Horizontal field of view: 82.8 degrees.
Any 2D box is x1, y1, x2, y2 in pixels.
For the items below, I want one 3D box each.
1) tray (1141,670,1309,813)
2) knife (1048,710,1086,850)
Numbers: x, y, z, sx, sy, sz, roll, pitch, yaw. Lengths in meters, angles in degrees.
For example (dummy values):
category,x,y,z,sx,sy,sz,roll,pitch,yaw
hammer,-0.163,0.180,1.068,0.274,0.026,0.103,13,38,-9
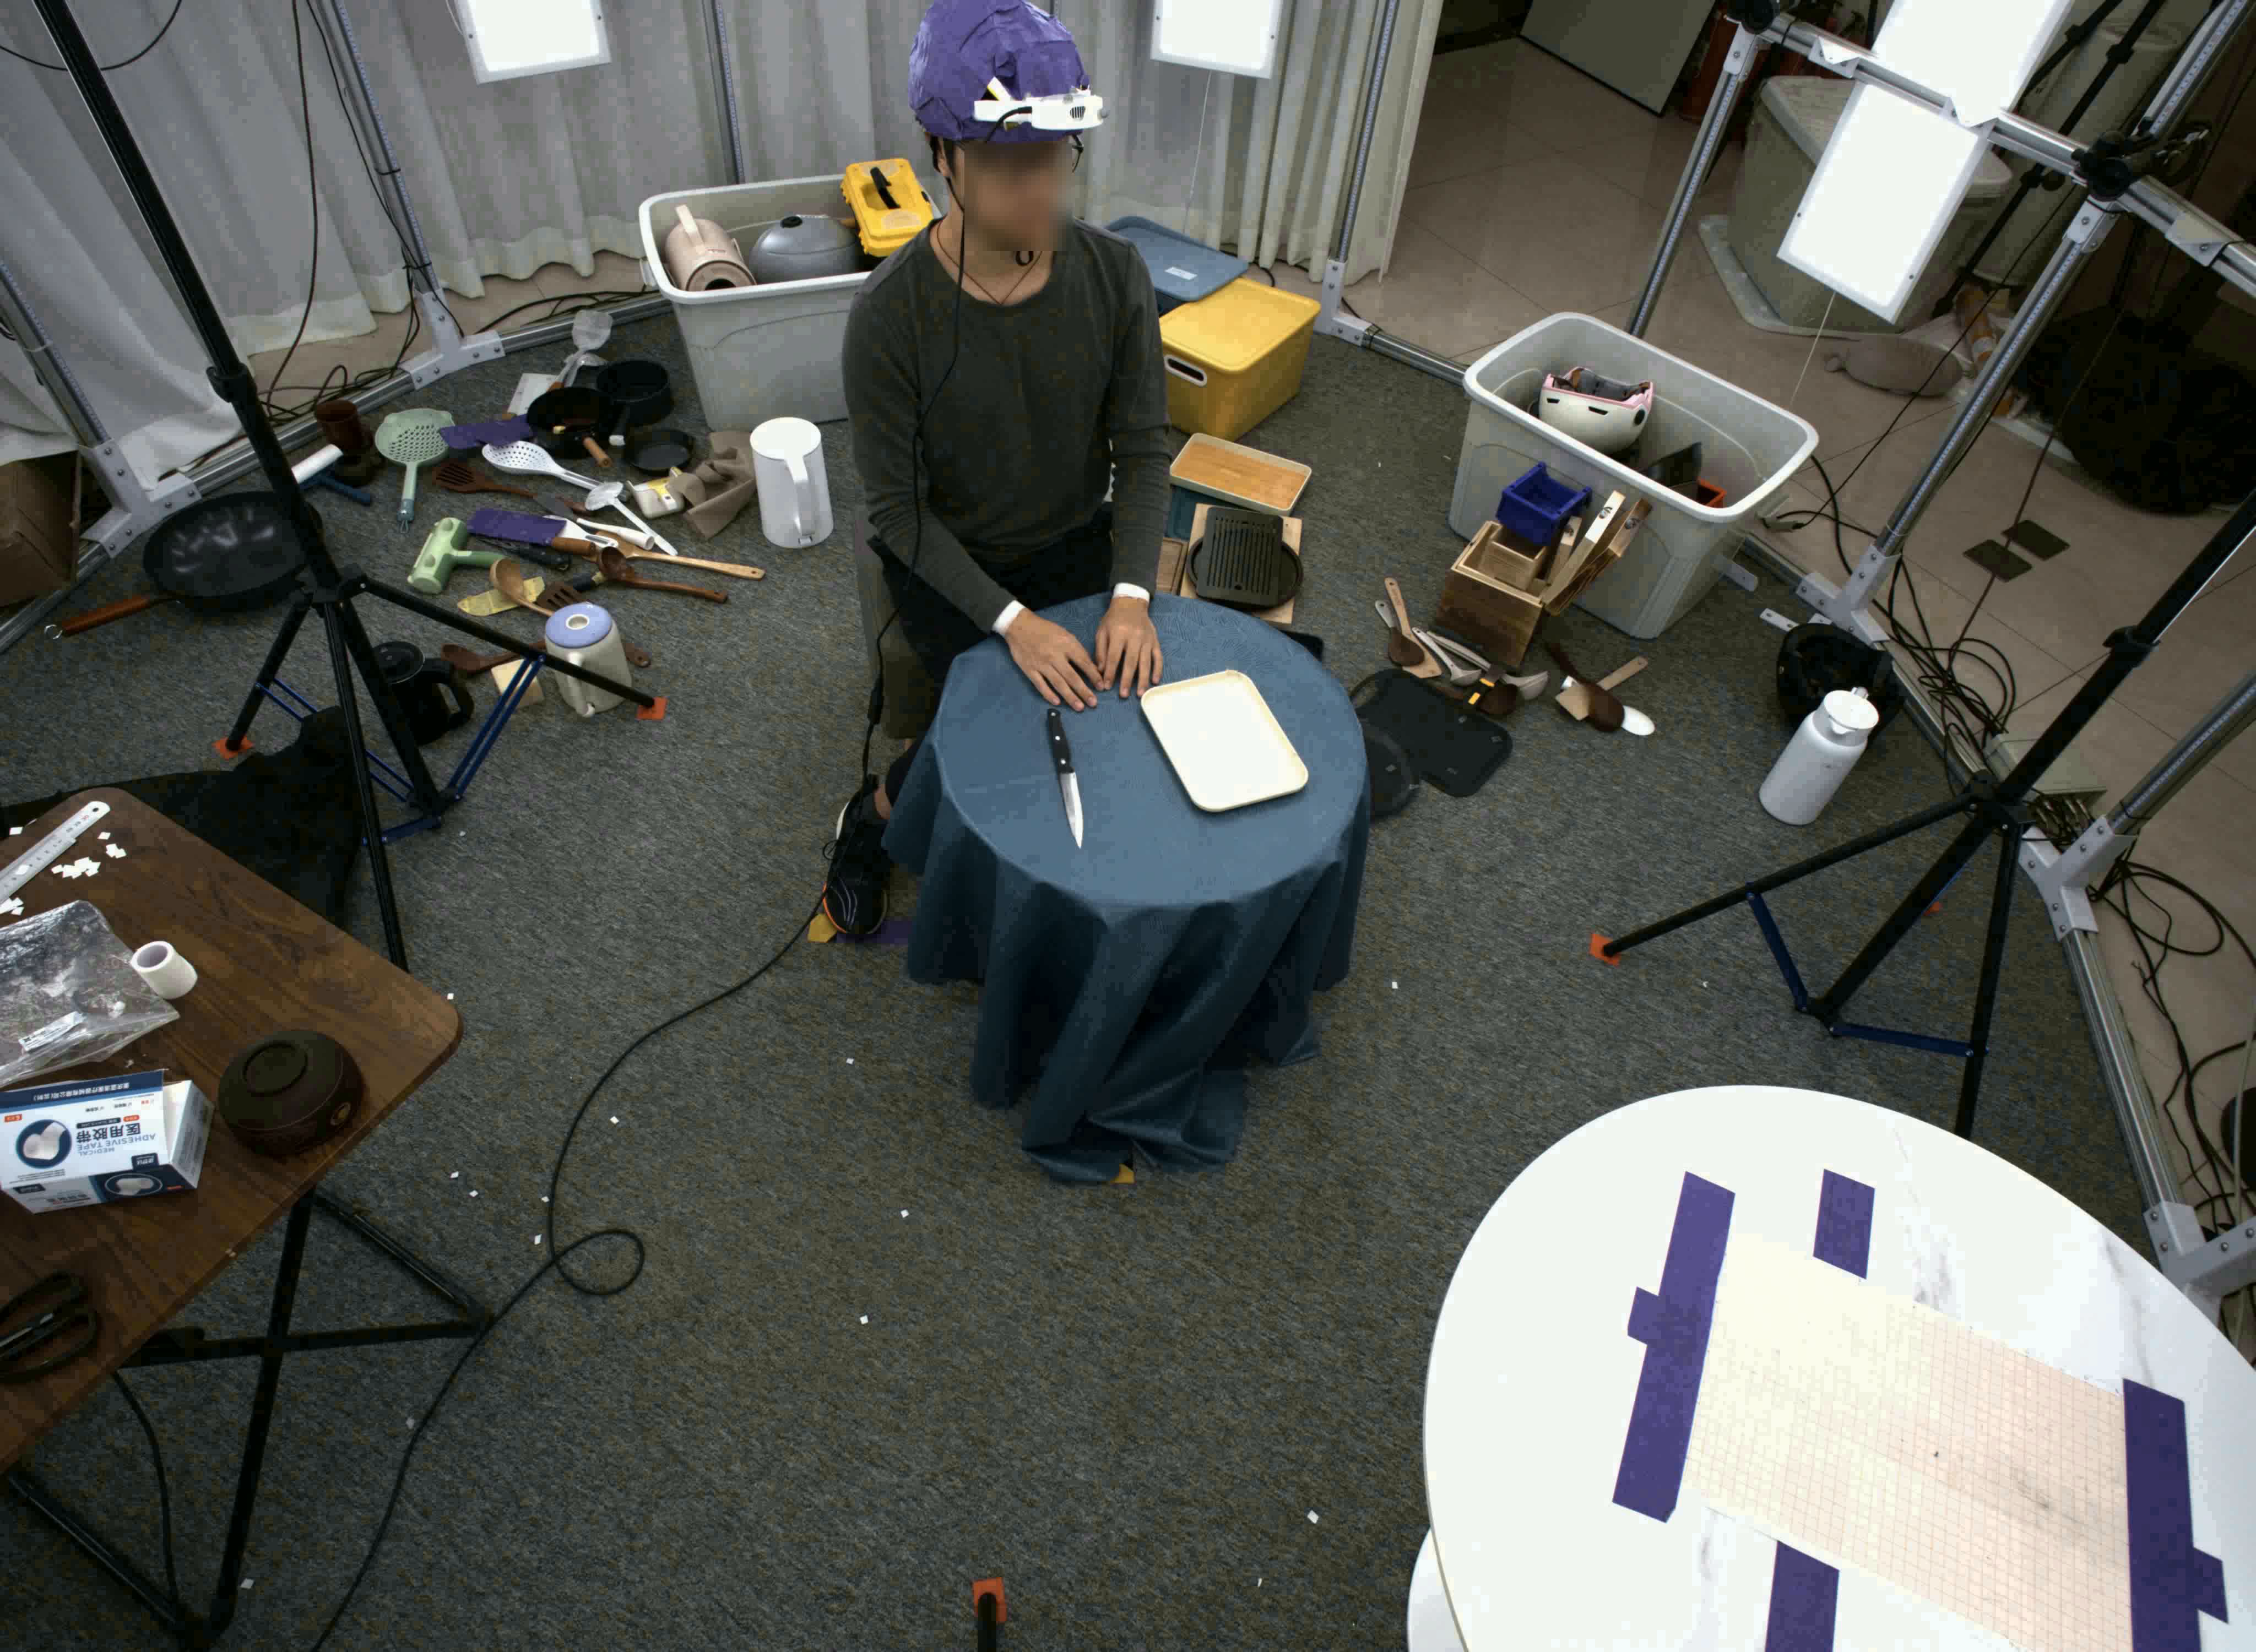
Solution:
category,x,y,z,sx,sy,sz,roll,pitch,yaw
tray,0.130,-0.118,1.767,0.171,0.017,0.245,-14,51,-15
knife,-0.082,-0.064,1.710,0.024,0.016,0.244,-7,53,-8
